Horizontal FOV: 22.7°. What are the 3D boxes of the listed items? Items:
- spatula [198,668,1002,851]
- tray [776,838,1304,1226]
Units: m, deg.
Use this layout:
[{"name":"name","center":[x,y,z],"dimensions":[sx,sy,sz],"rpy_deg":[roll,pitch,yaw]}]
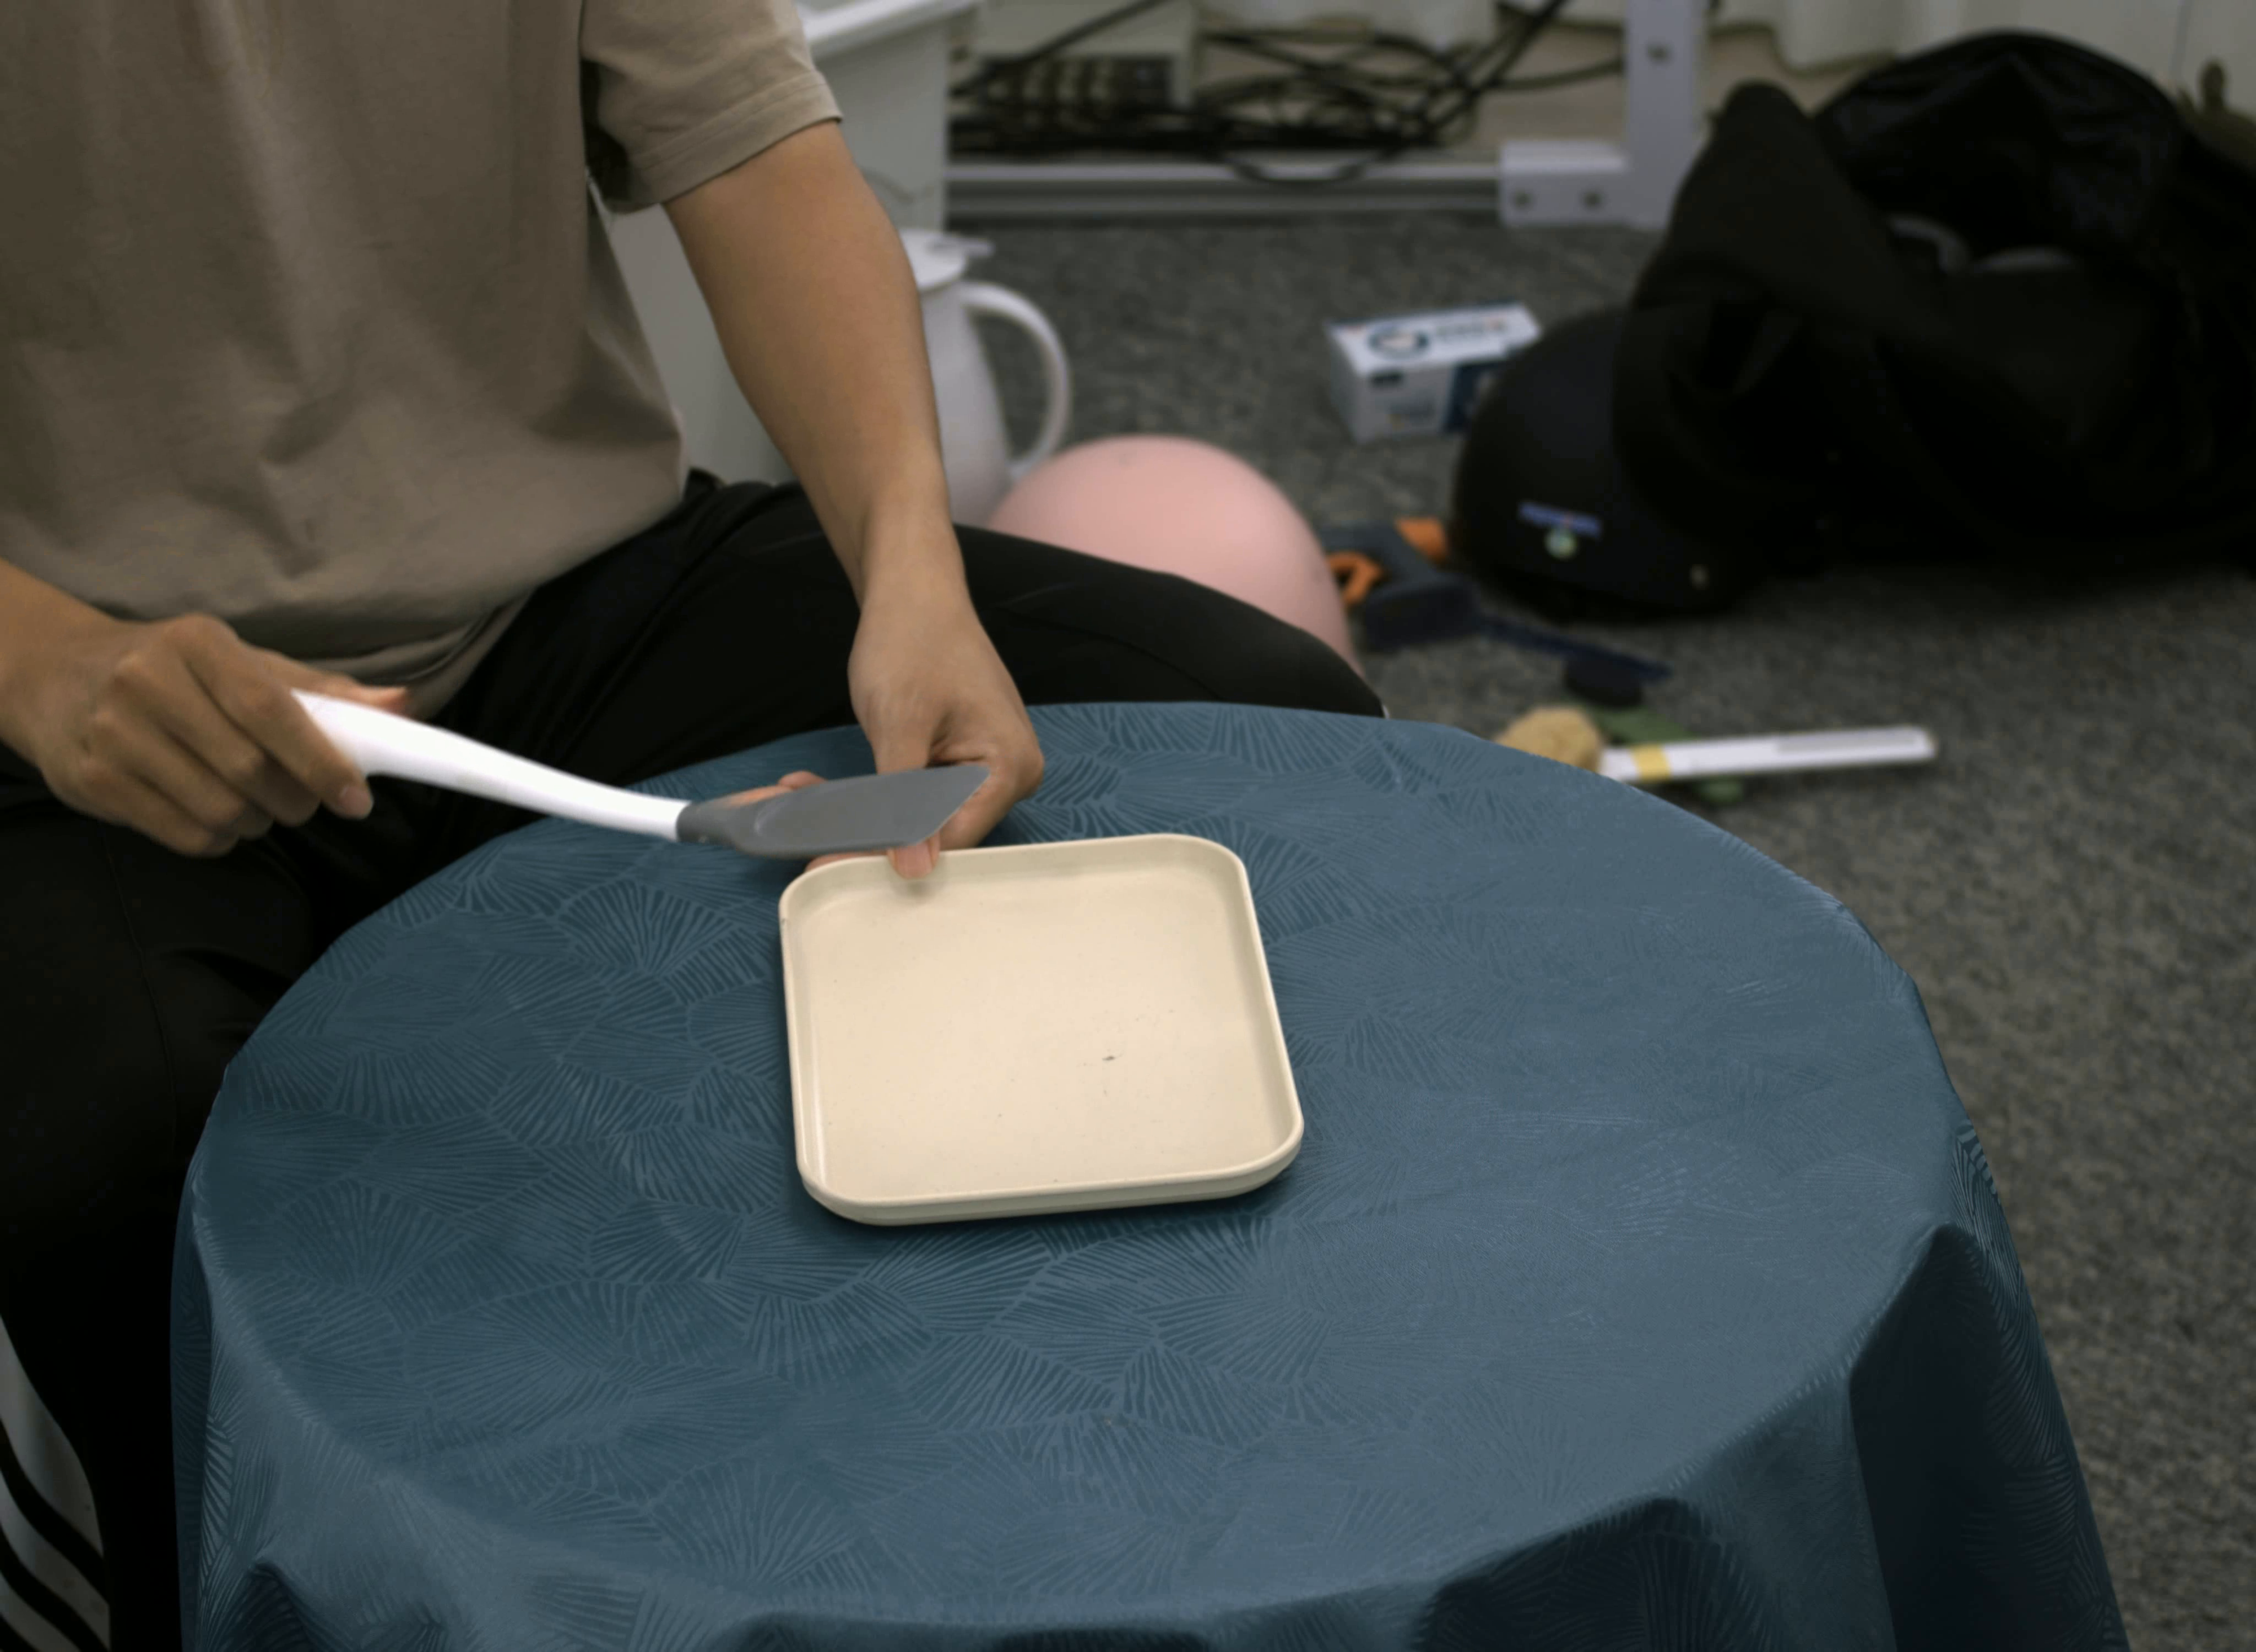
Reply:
[{"name":"spatula","center":[-0.173,-0.018,1.809],"dimensions":[0.285,0.032,0.059],"rpy_deg":[8,27,25]},{"name":"tray","center":[-0.034,0.070,1.943],"dimensions":[0.171,0.017,0.243],"rpy_deg":[-4,27,-4]}]
